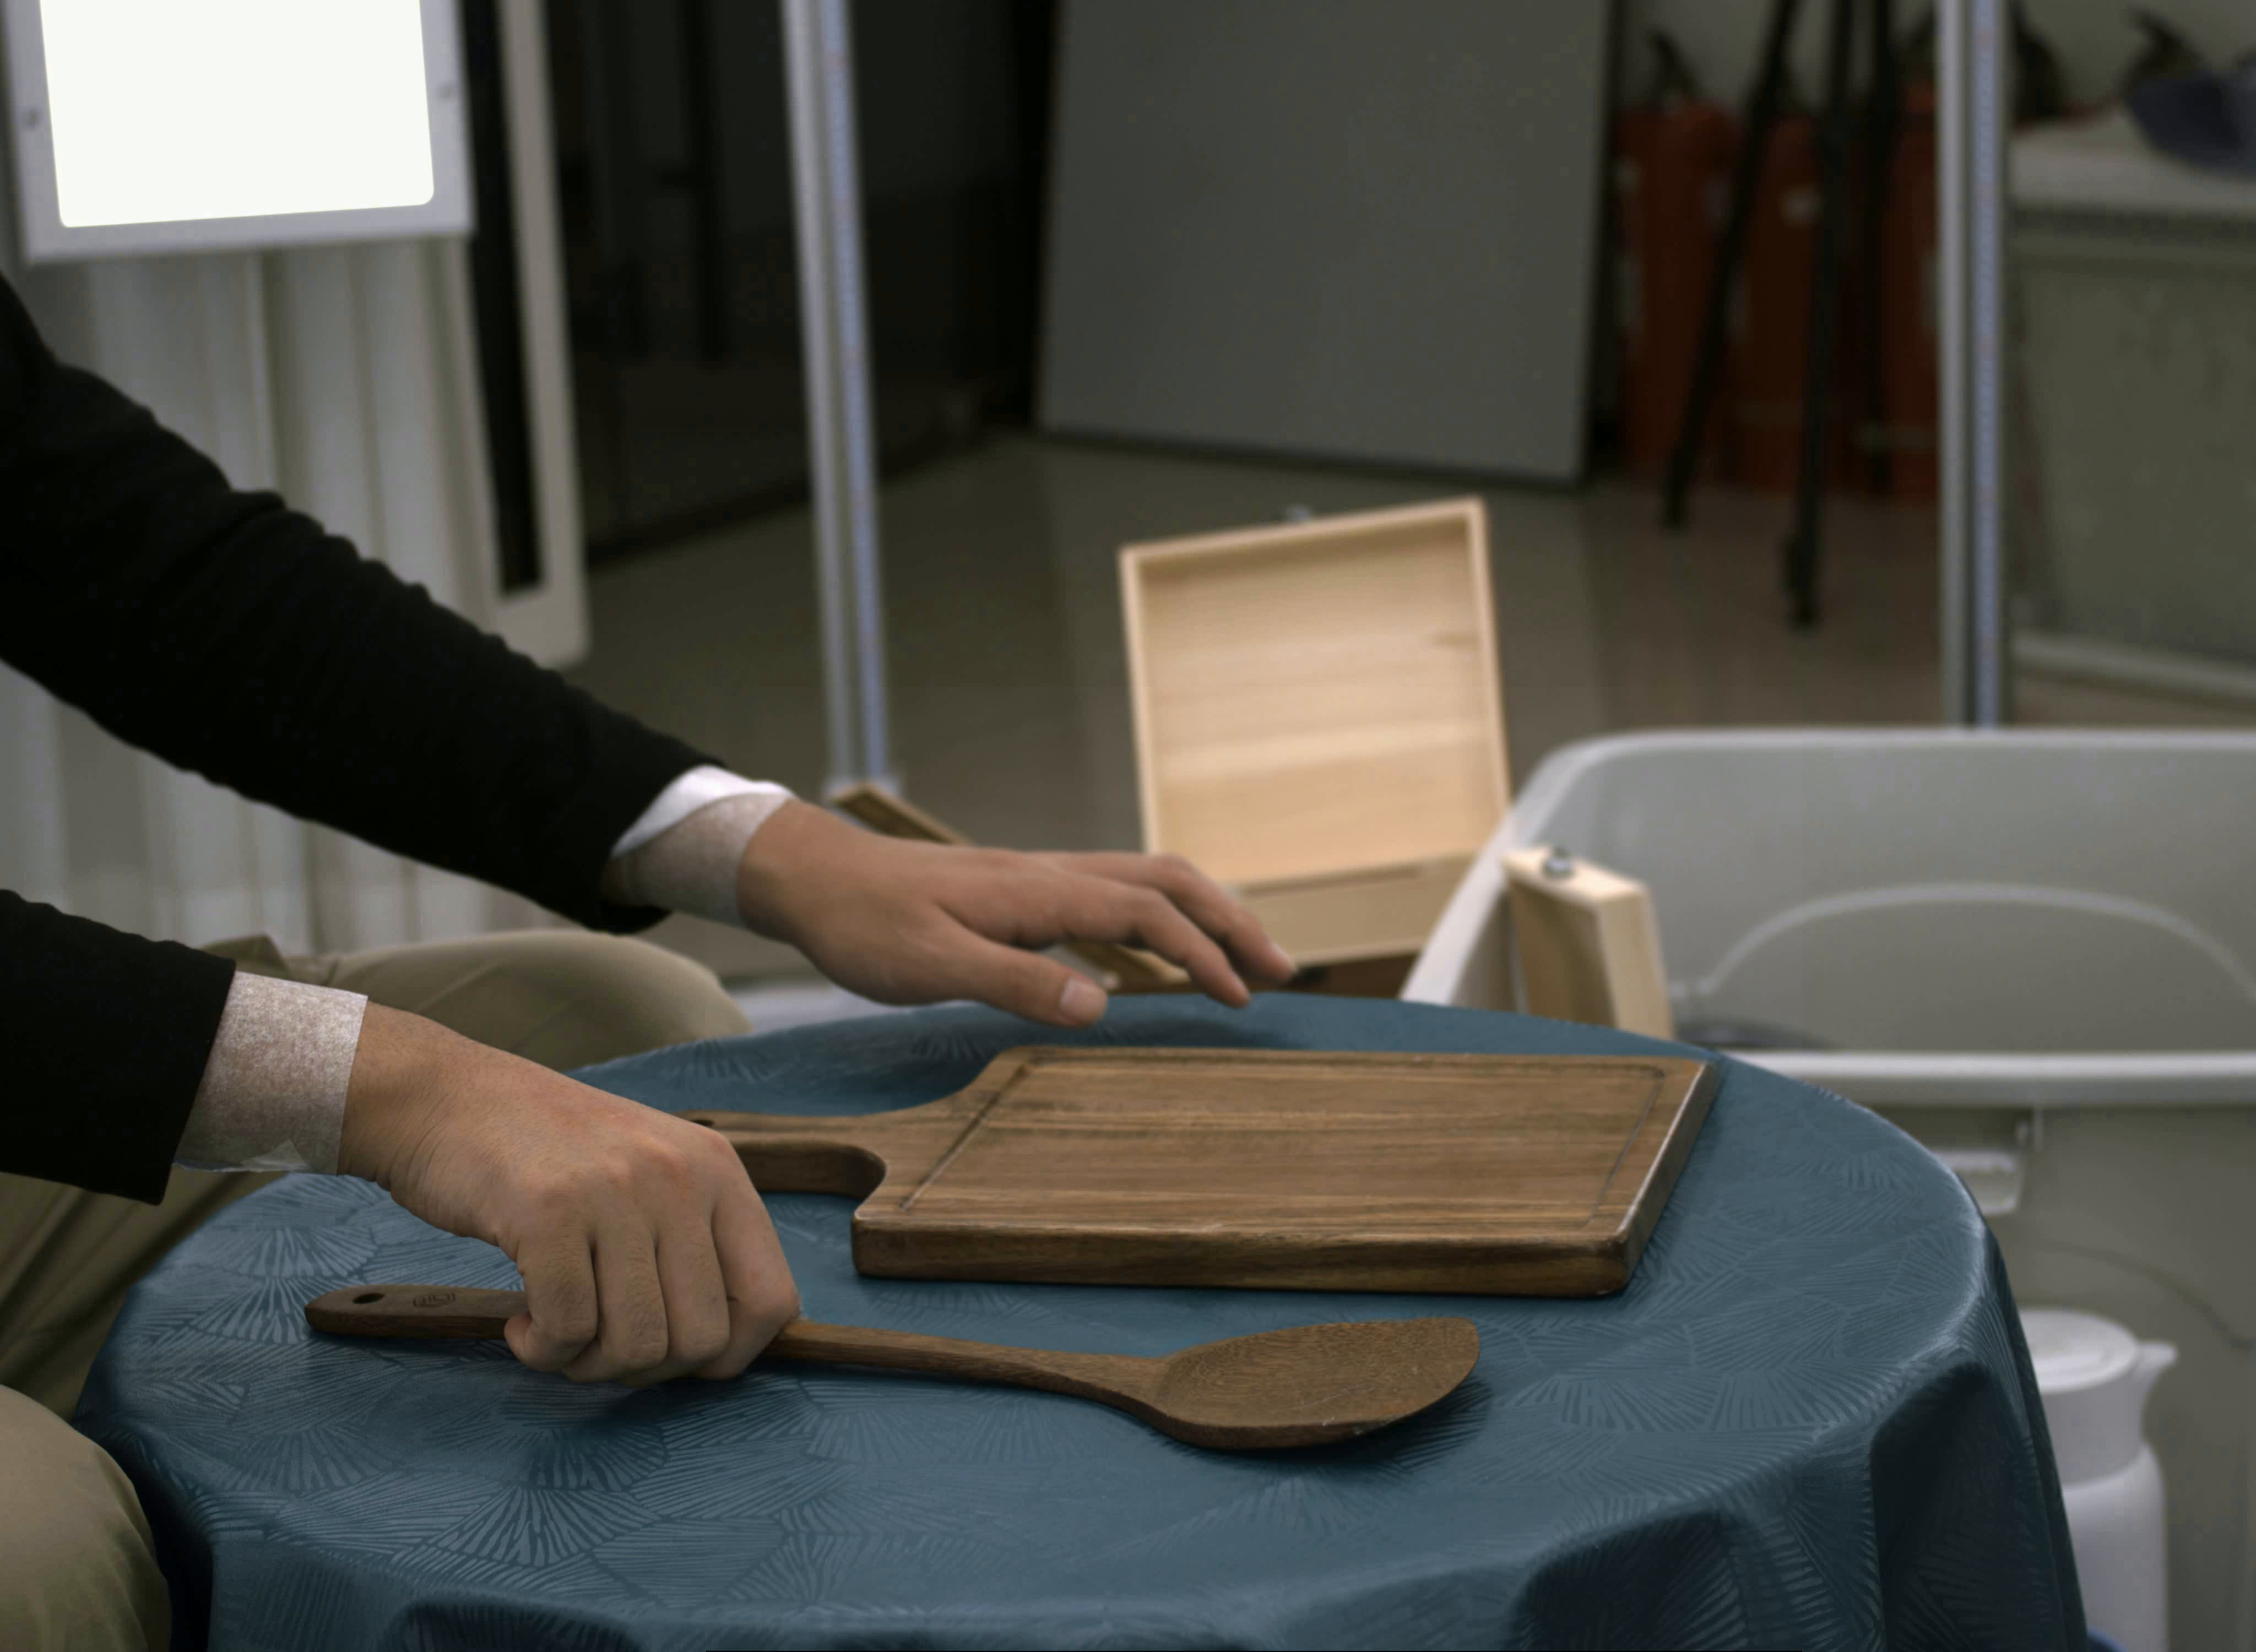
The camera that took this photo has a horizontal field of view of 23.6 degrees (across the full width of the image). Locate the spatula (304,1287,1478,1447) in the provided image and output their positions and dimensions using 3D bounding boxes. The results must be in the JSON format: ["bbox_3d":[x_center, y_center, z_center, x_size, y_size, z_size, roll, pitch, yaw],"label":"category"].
[{"bbox_3d":[-0.080,0.157,1.617,0.386,0.016,0.095,2,15,24],"label":"spatula"}]

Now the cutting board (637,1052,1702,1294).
[{"bbox_3d":[0.006,0.110,1.768,0.350,0.023,0.199,0,14,15],"label":"cutting board"}]
